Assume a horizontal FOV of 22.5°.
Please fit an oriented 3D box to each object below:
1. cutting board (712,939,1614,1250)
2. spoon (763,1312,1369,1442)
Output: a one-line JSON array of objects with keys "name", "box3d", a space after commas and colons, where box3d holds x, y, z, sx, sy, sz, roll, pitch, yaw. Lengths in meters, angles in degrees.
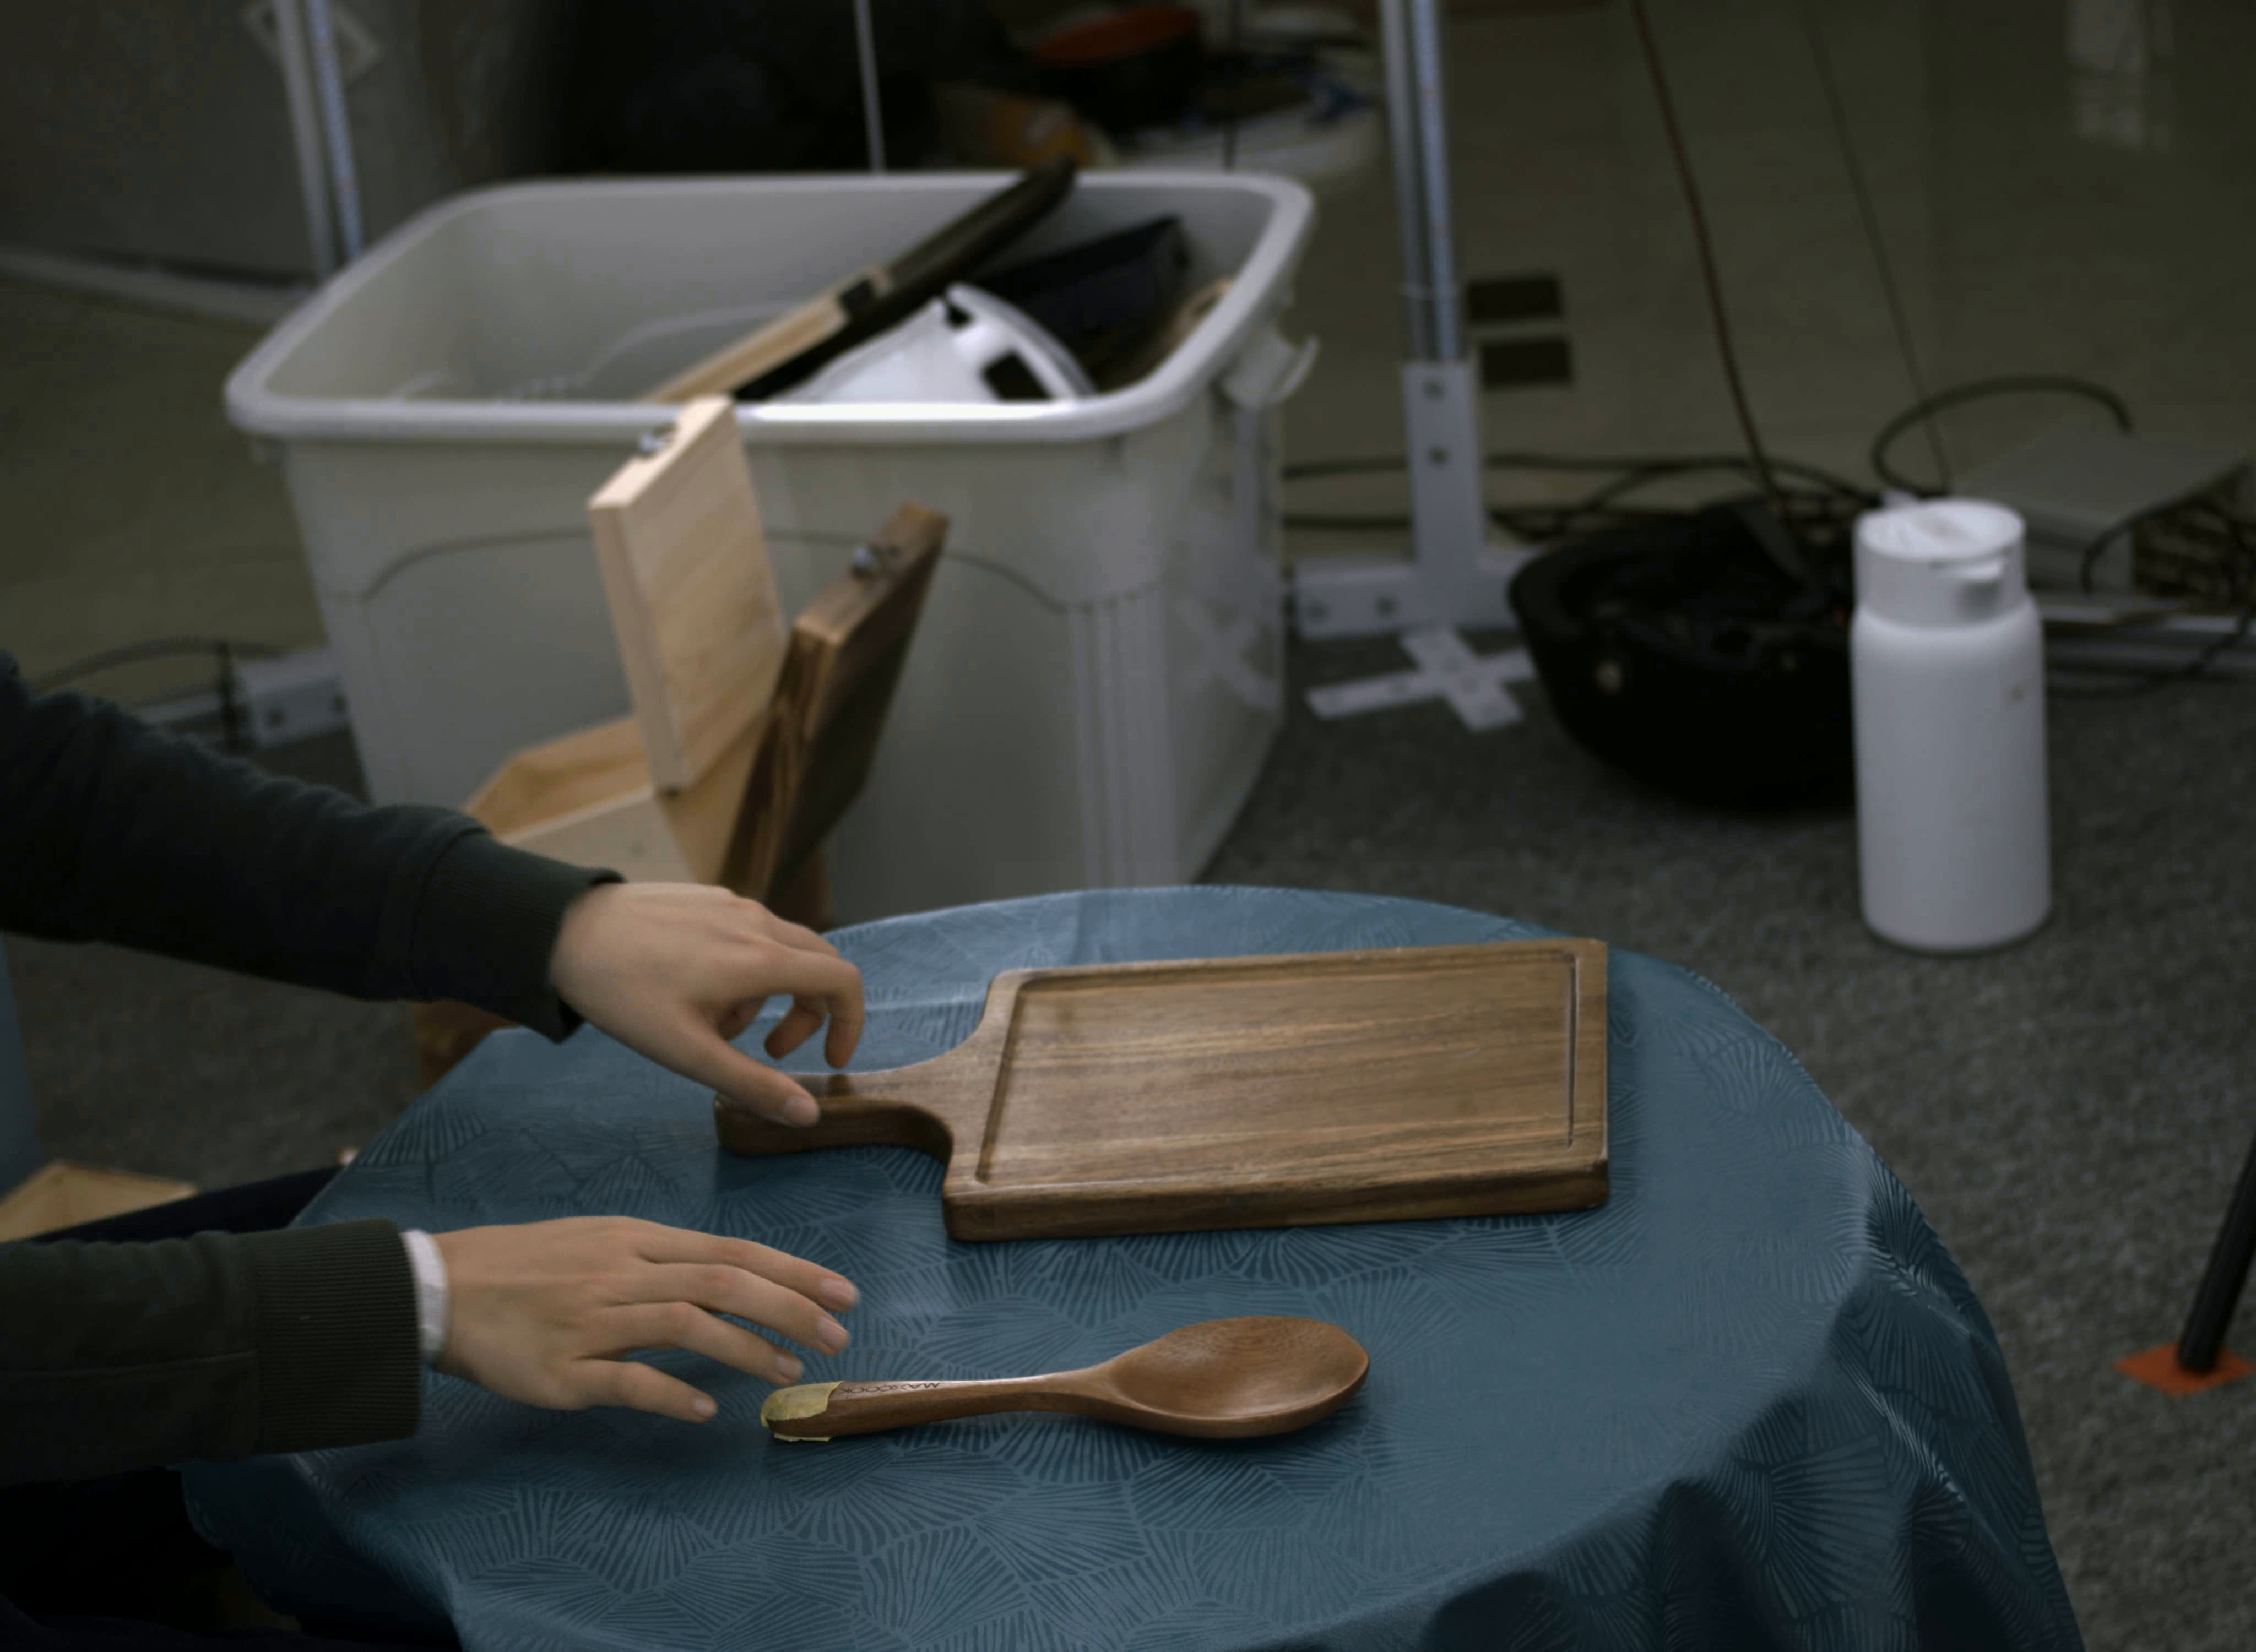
[{"name": "cutting board", "box3d": [0.012, 0.105, 2.202, 0.351, 0.023, 0.198, -4, 26, 7]}, {"name": "spoon", "box3d": [-0.022, 0.200, 2.006, 0.215, 0.017, 0.074, -3, 27, 5]}]
